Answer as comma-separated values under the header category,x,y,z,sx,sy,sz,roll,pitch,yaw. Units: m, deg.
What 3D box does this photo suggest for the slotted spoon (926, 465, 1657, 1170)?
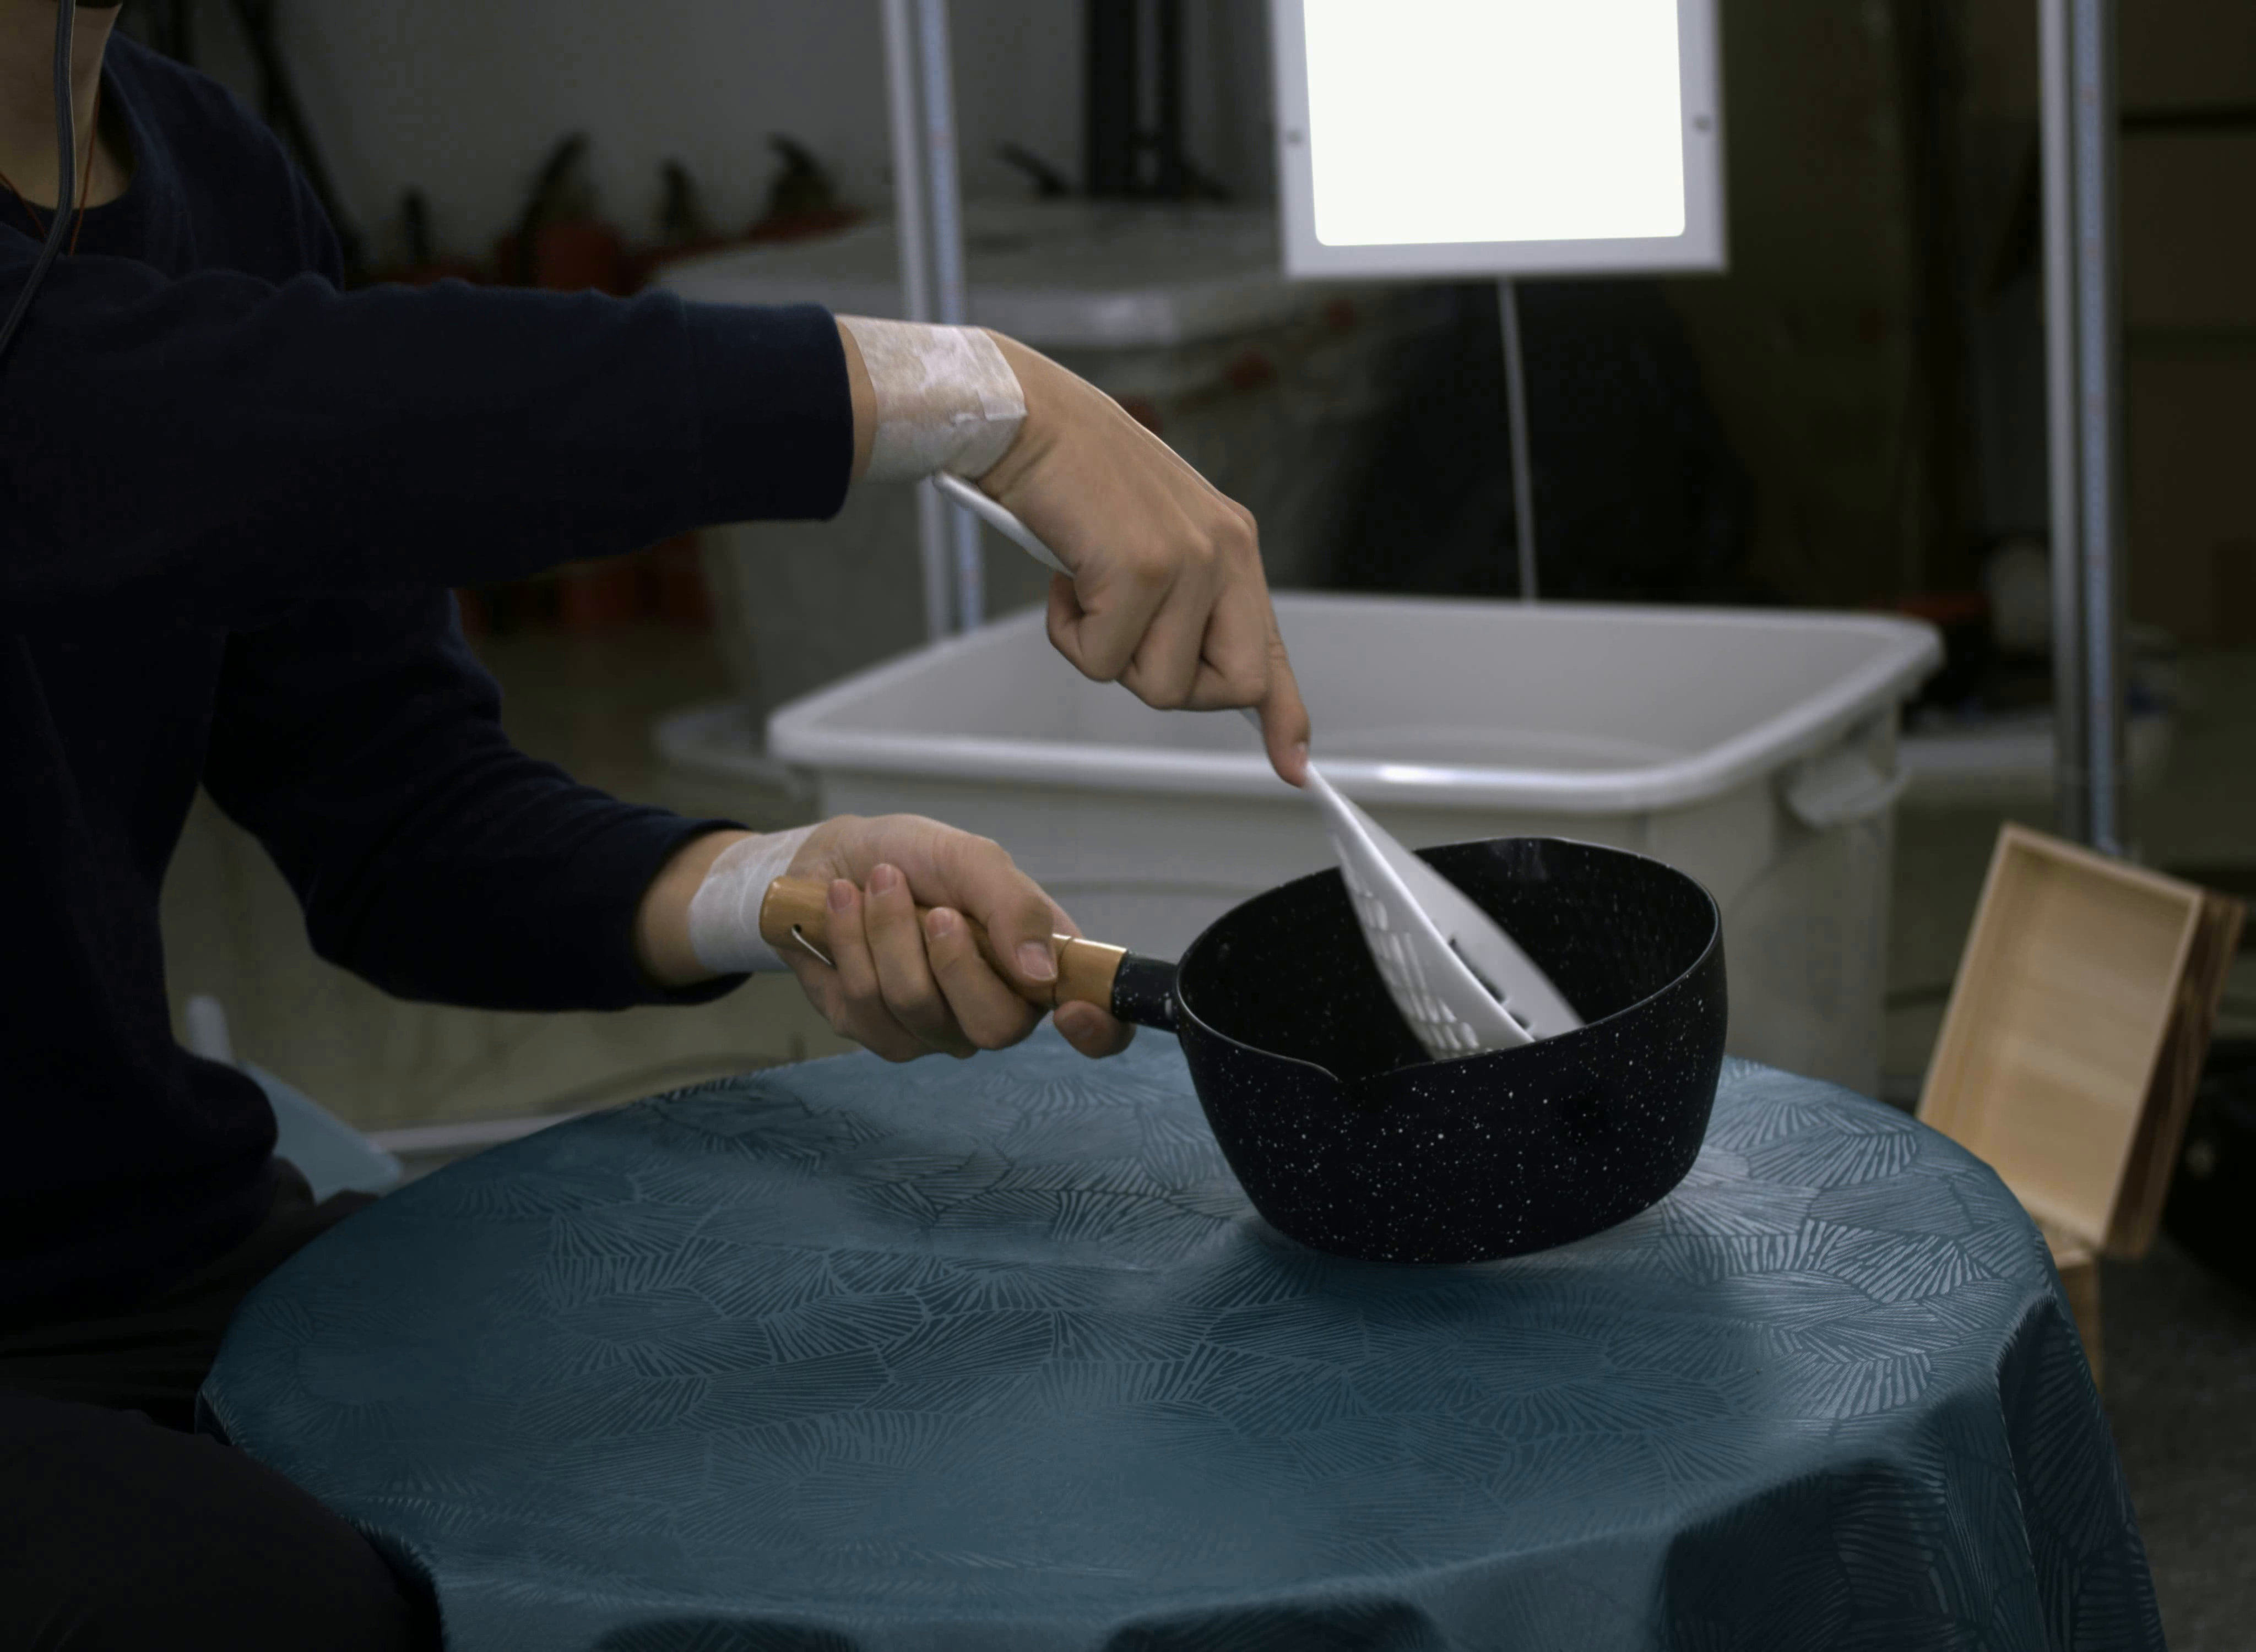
category,x,y,z,sx,sy,sz,roll,pitch,yaw
slotted spoon,0.055,-0.004,1.785,0.050,0.345,0.137,-36,23,5

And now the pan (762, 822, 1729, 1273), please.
category,x,y,z,sx,sy,sz,roll,pitch,yaw
pan,0.037,0.068,1.867,0.348,0.108,0.204,0,24,22
